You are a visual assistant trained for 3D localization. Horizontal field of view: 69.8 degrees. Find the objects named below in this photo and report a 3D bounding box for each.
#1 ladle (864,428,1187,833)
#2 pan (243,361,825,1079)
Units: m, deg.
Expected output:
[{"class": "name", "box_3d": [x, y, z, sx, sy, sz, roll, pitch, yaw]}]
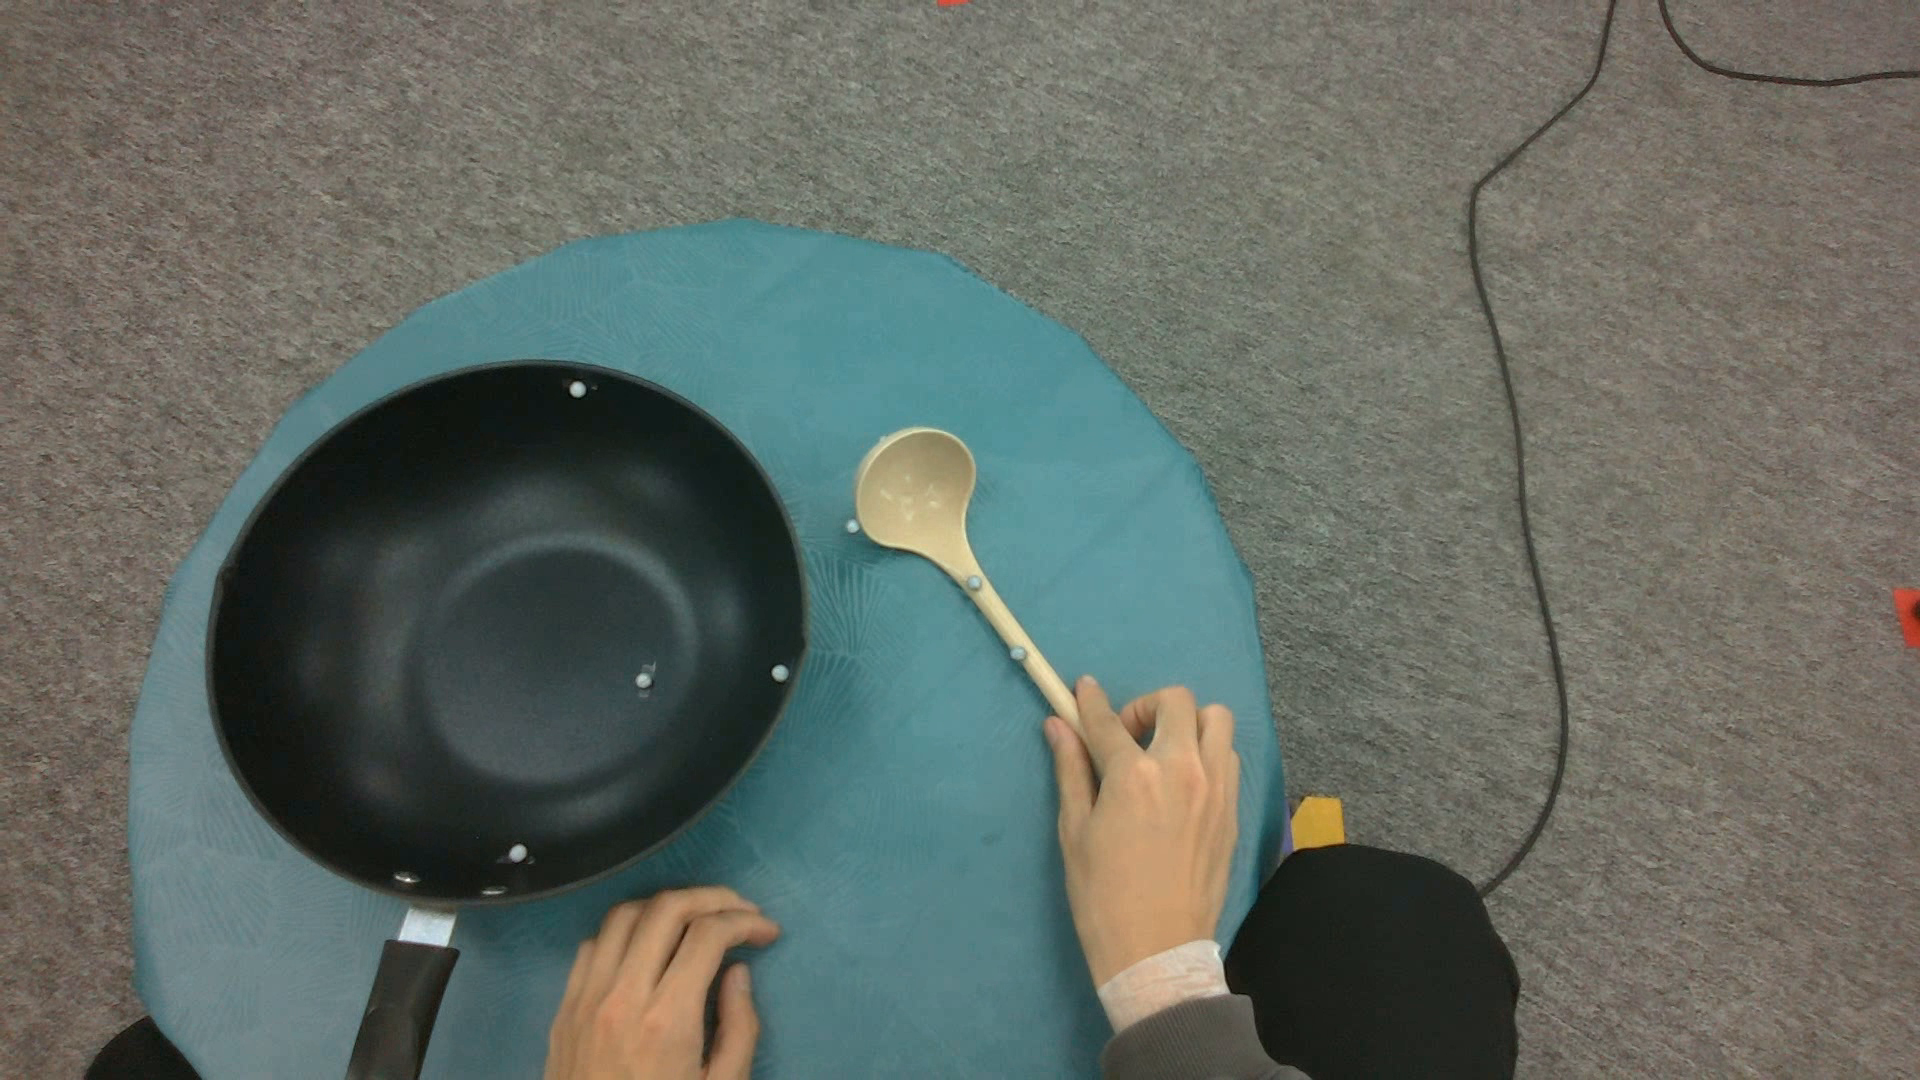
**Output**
[{"class": "ladle", "box_3d": [0.039, 0.045, 0.729, 0.072, 0.072, 0.255, -34, 70, -12]}, {"class": "pan", "box_3d": [-0.223, 0.132, 0.679, 0.288, 0.086, 0.465, 8, 67, 2]}]
